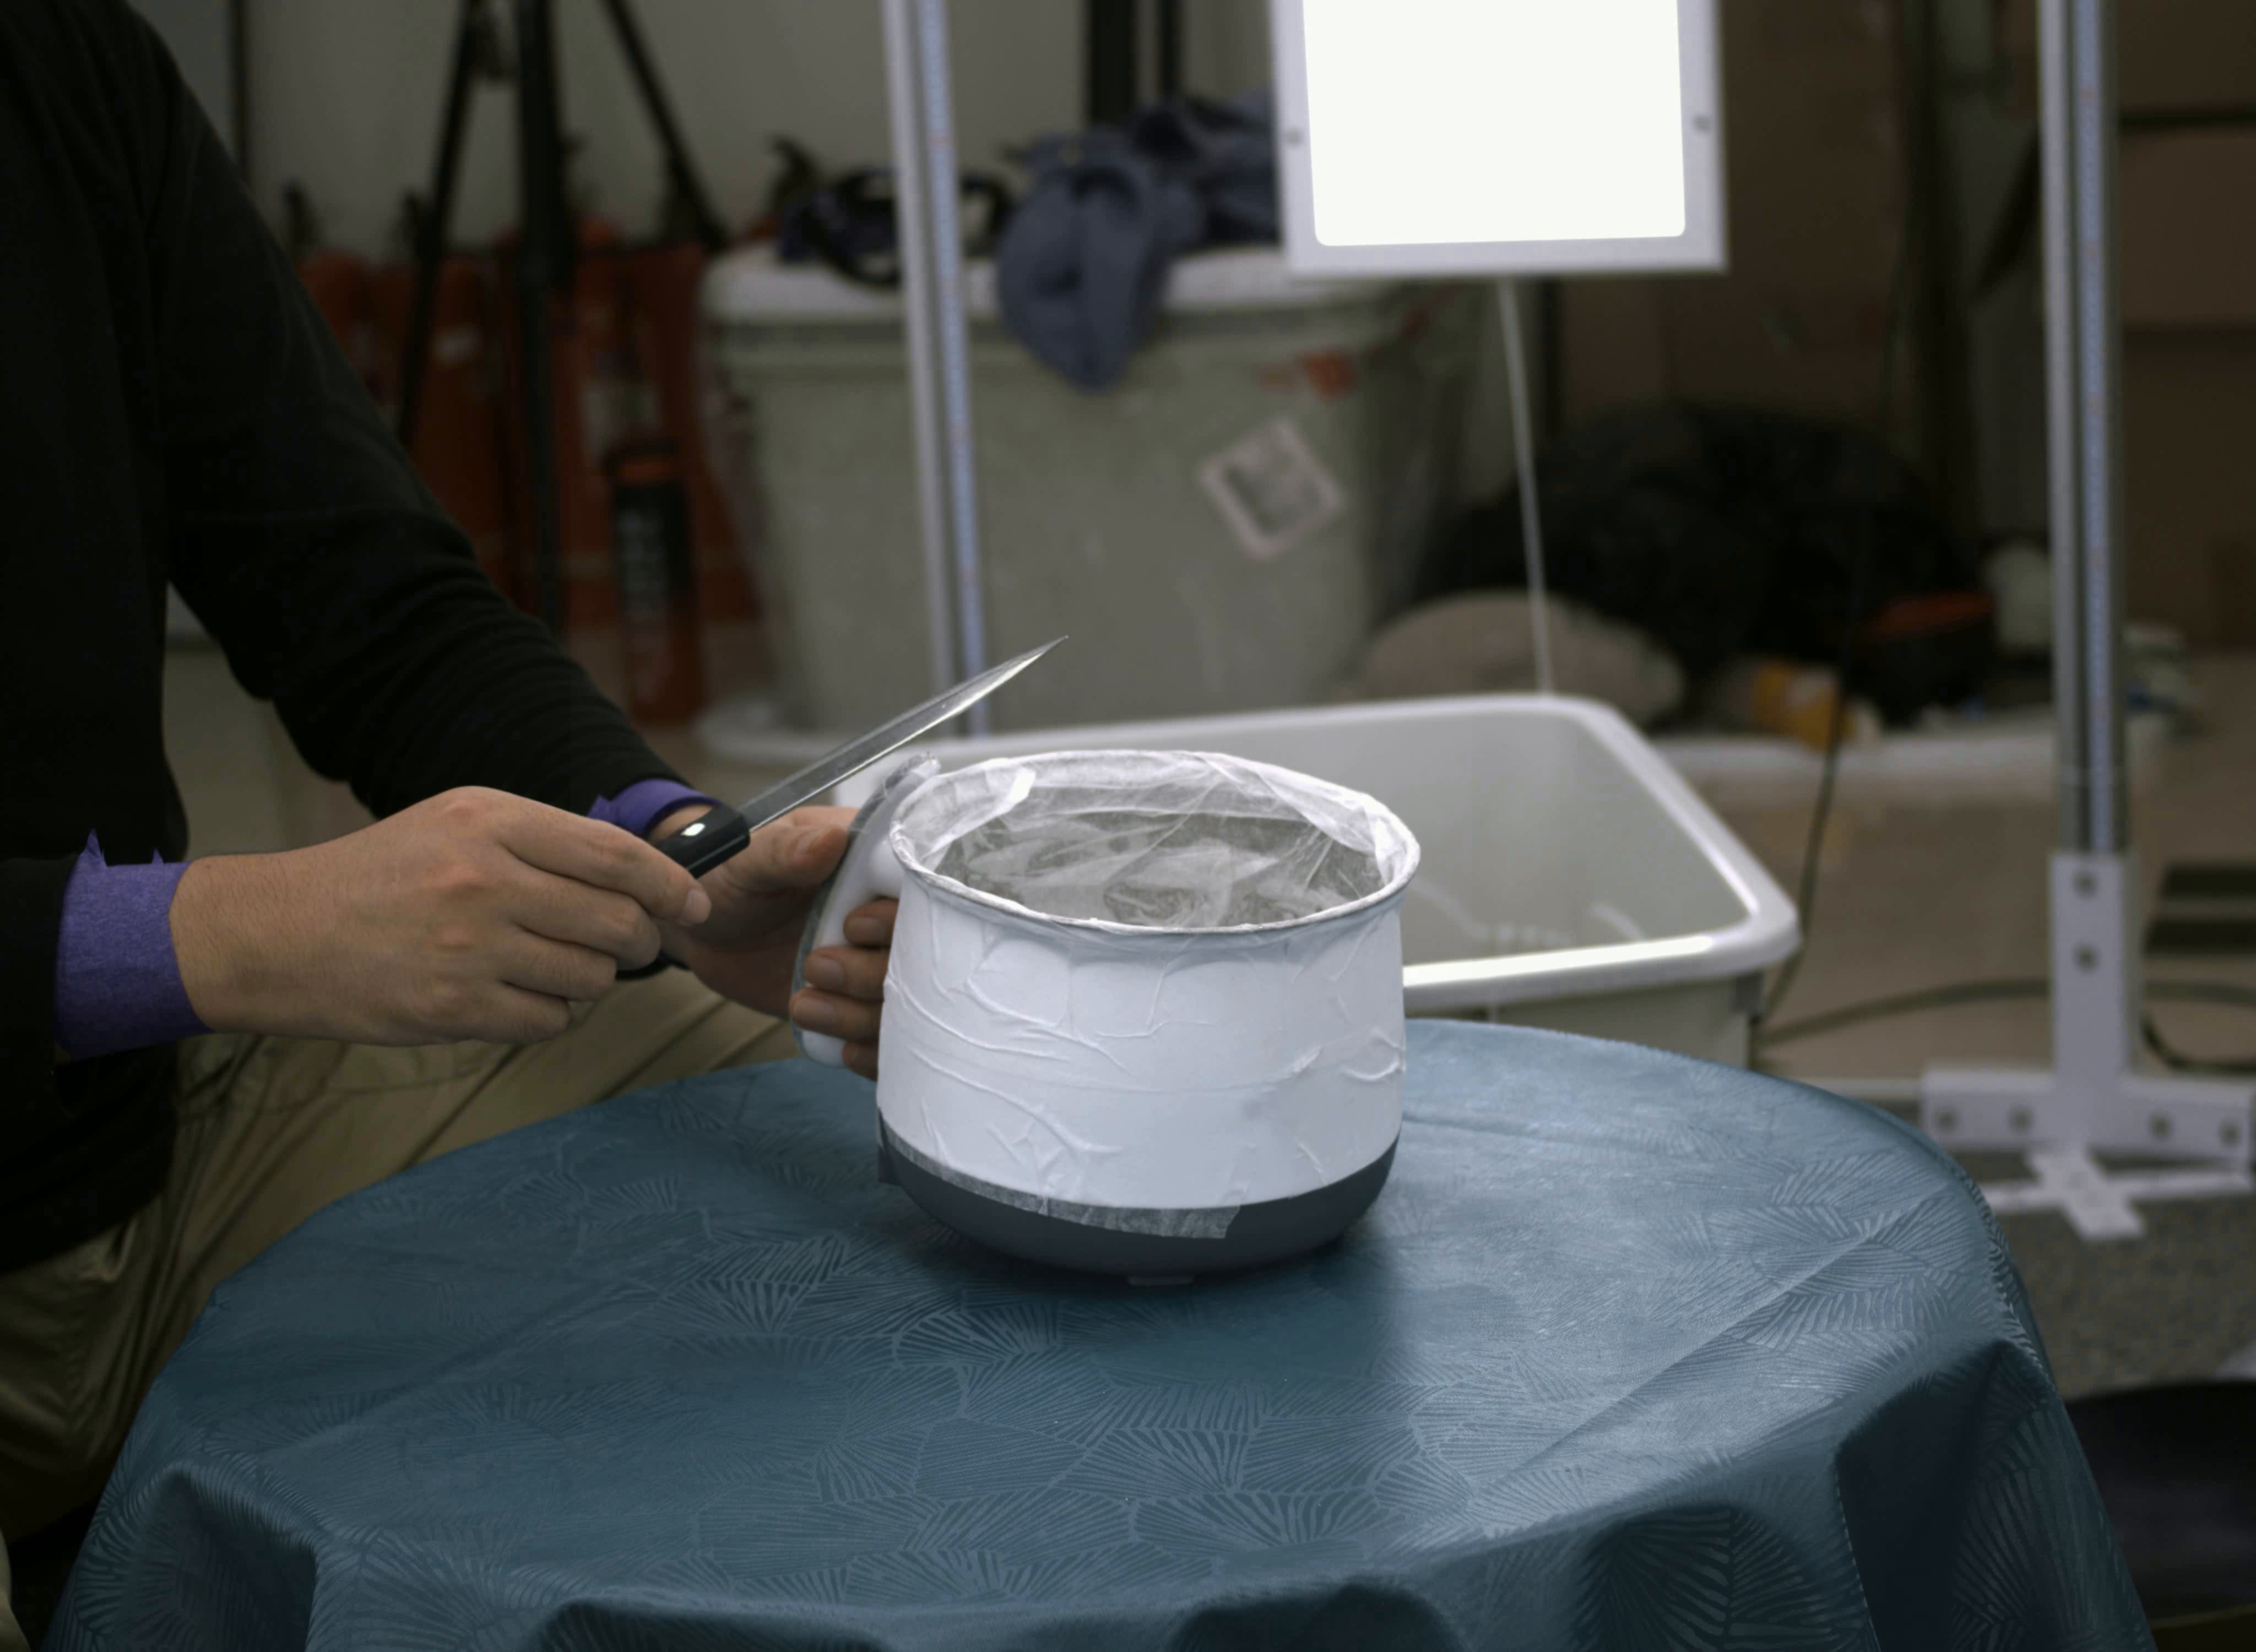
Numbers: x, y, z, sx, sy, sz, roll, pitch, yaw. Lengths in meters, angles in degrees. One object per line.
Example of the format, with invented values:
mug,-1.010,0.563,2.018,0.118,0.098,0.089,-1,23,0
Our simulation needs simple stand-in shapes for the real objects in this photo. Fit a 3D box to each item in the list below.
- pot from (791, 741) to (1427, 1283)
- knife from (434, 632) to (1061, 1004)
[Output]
pot,-0.017,0.054,1.853,0.238,0.137,0.174,17,23,34
knife,-0.123,-0.004,1.823,0.237,0.016,0.025,-30,29,-4
